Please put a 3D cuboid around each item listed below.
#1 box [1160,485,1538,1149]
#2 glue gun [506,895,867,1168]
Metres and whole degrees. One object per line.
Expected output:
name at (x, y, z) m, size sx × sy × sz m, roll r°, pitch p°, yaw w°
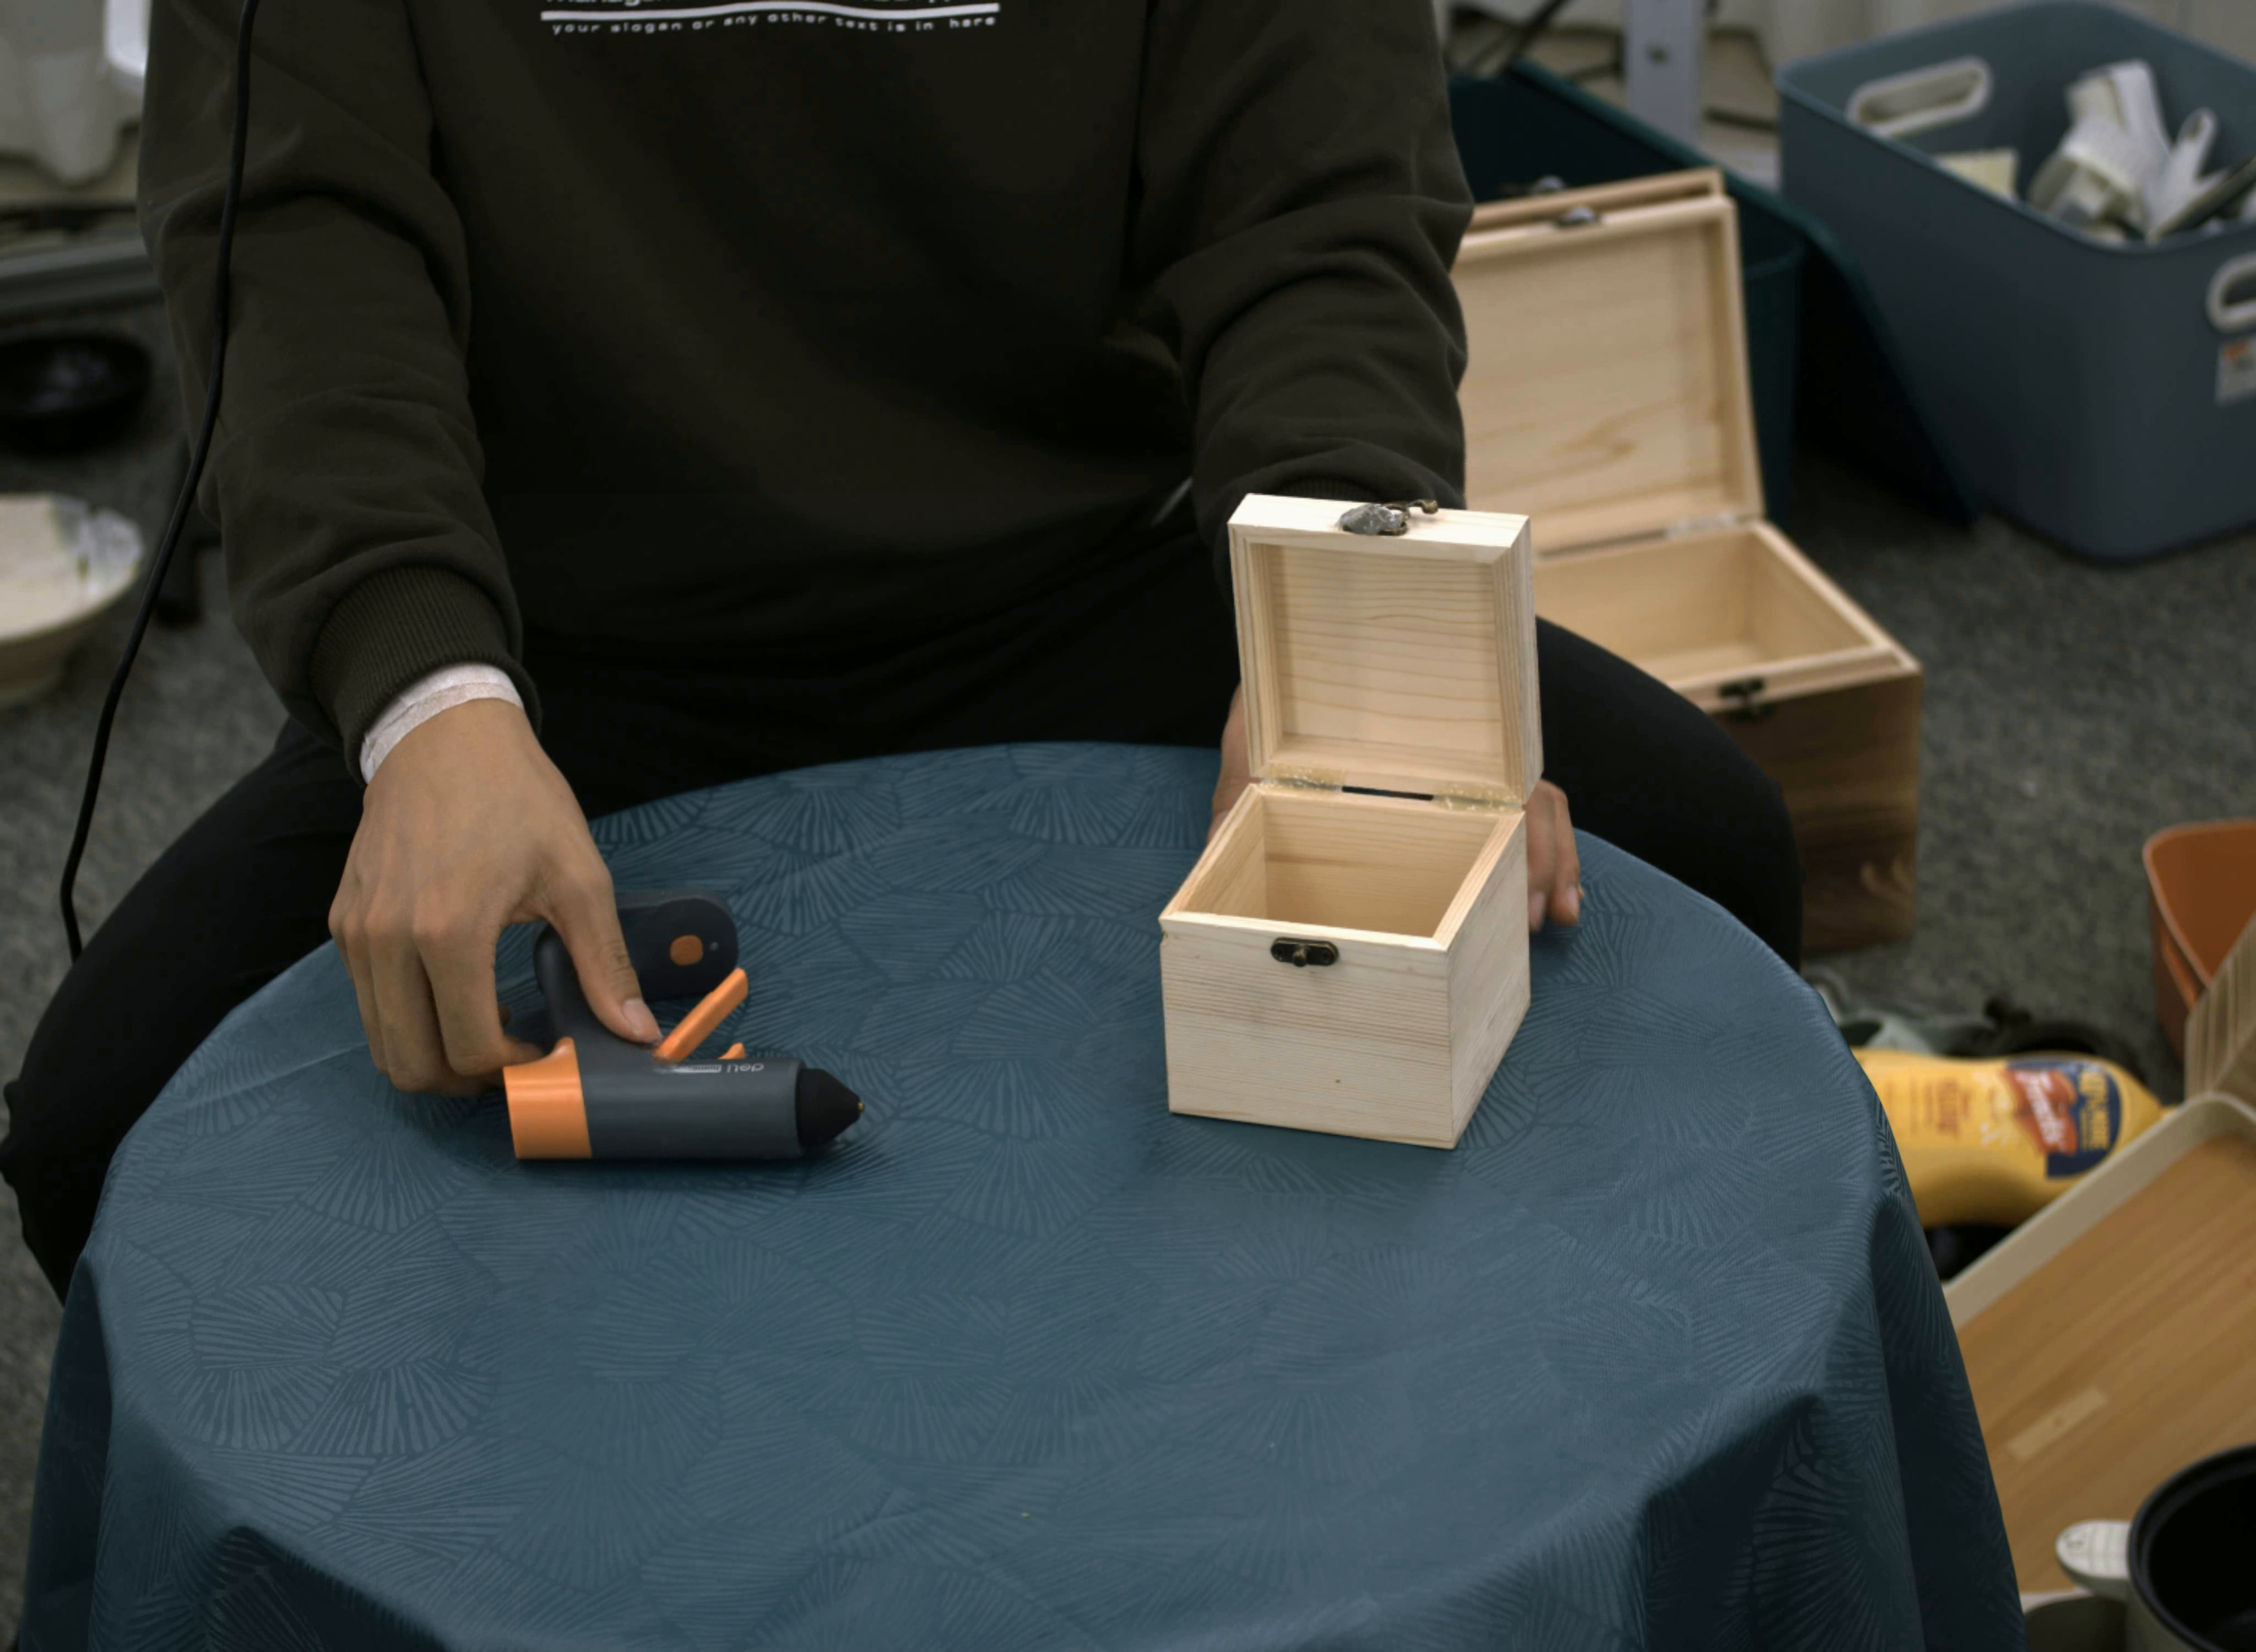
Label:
box at (0.074, -0.005, 1.903) m, size 0.102 × 0.182 × 0.136 m, roll 5°, pitch 29°, yaw 16°
glue gun at (-0.157, 0.077, 1.934) m, size 0.118 × 0.040 × 0.141 m, roll -6°, pitch 29°, yaw -10°
